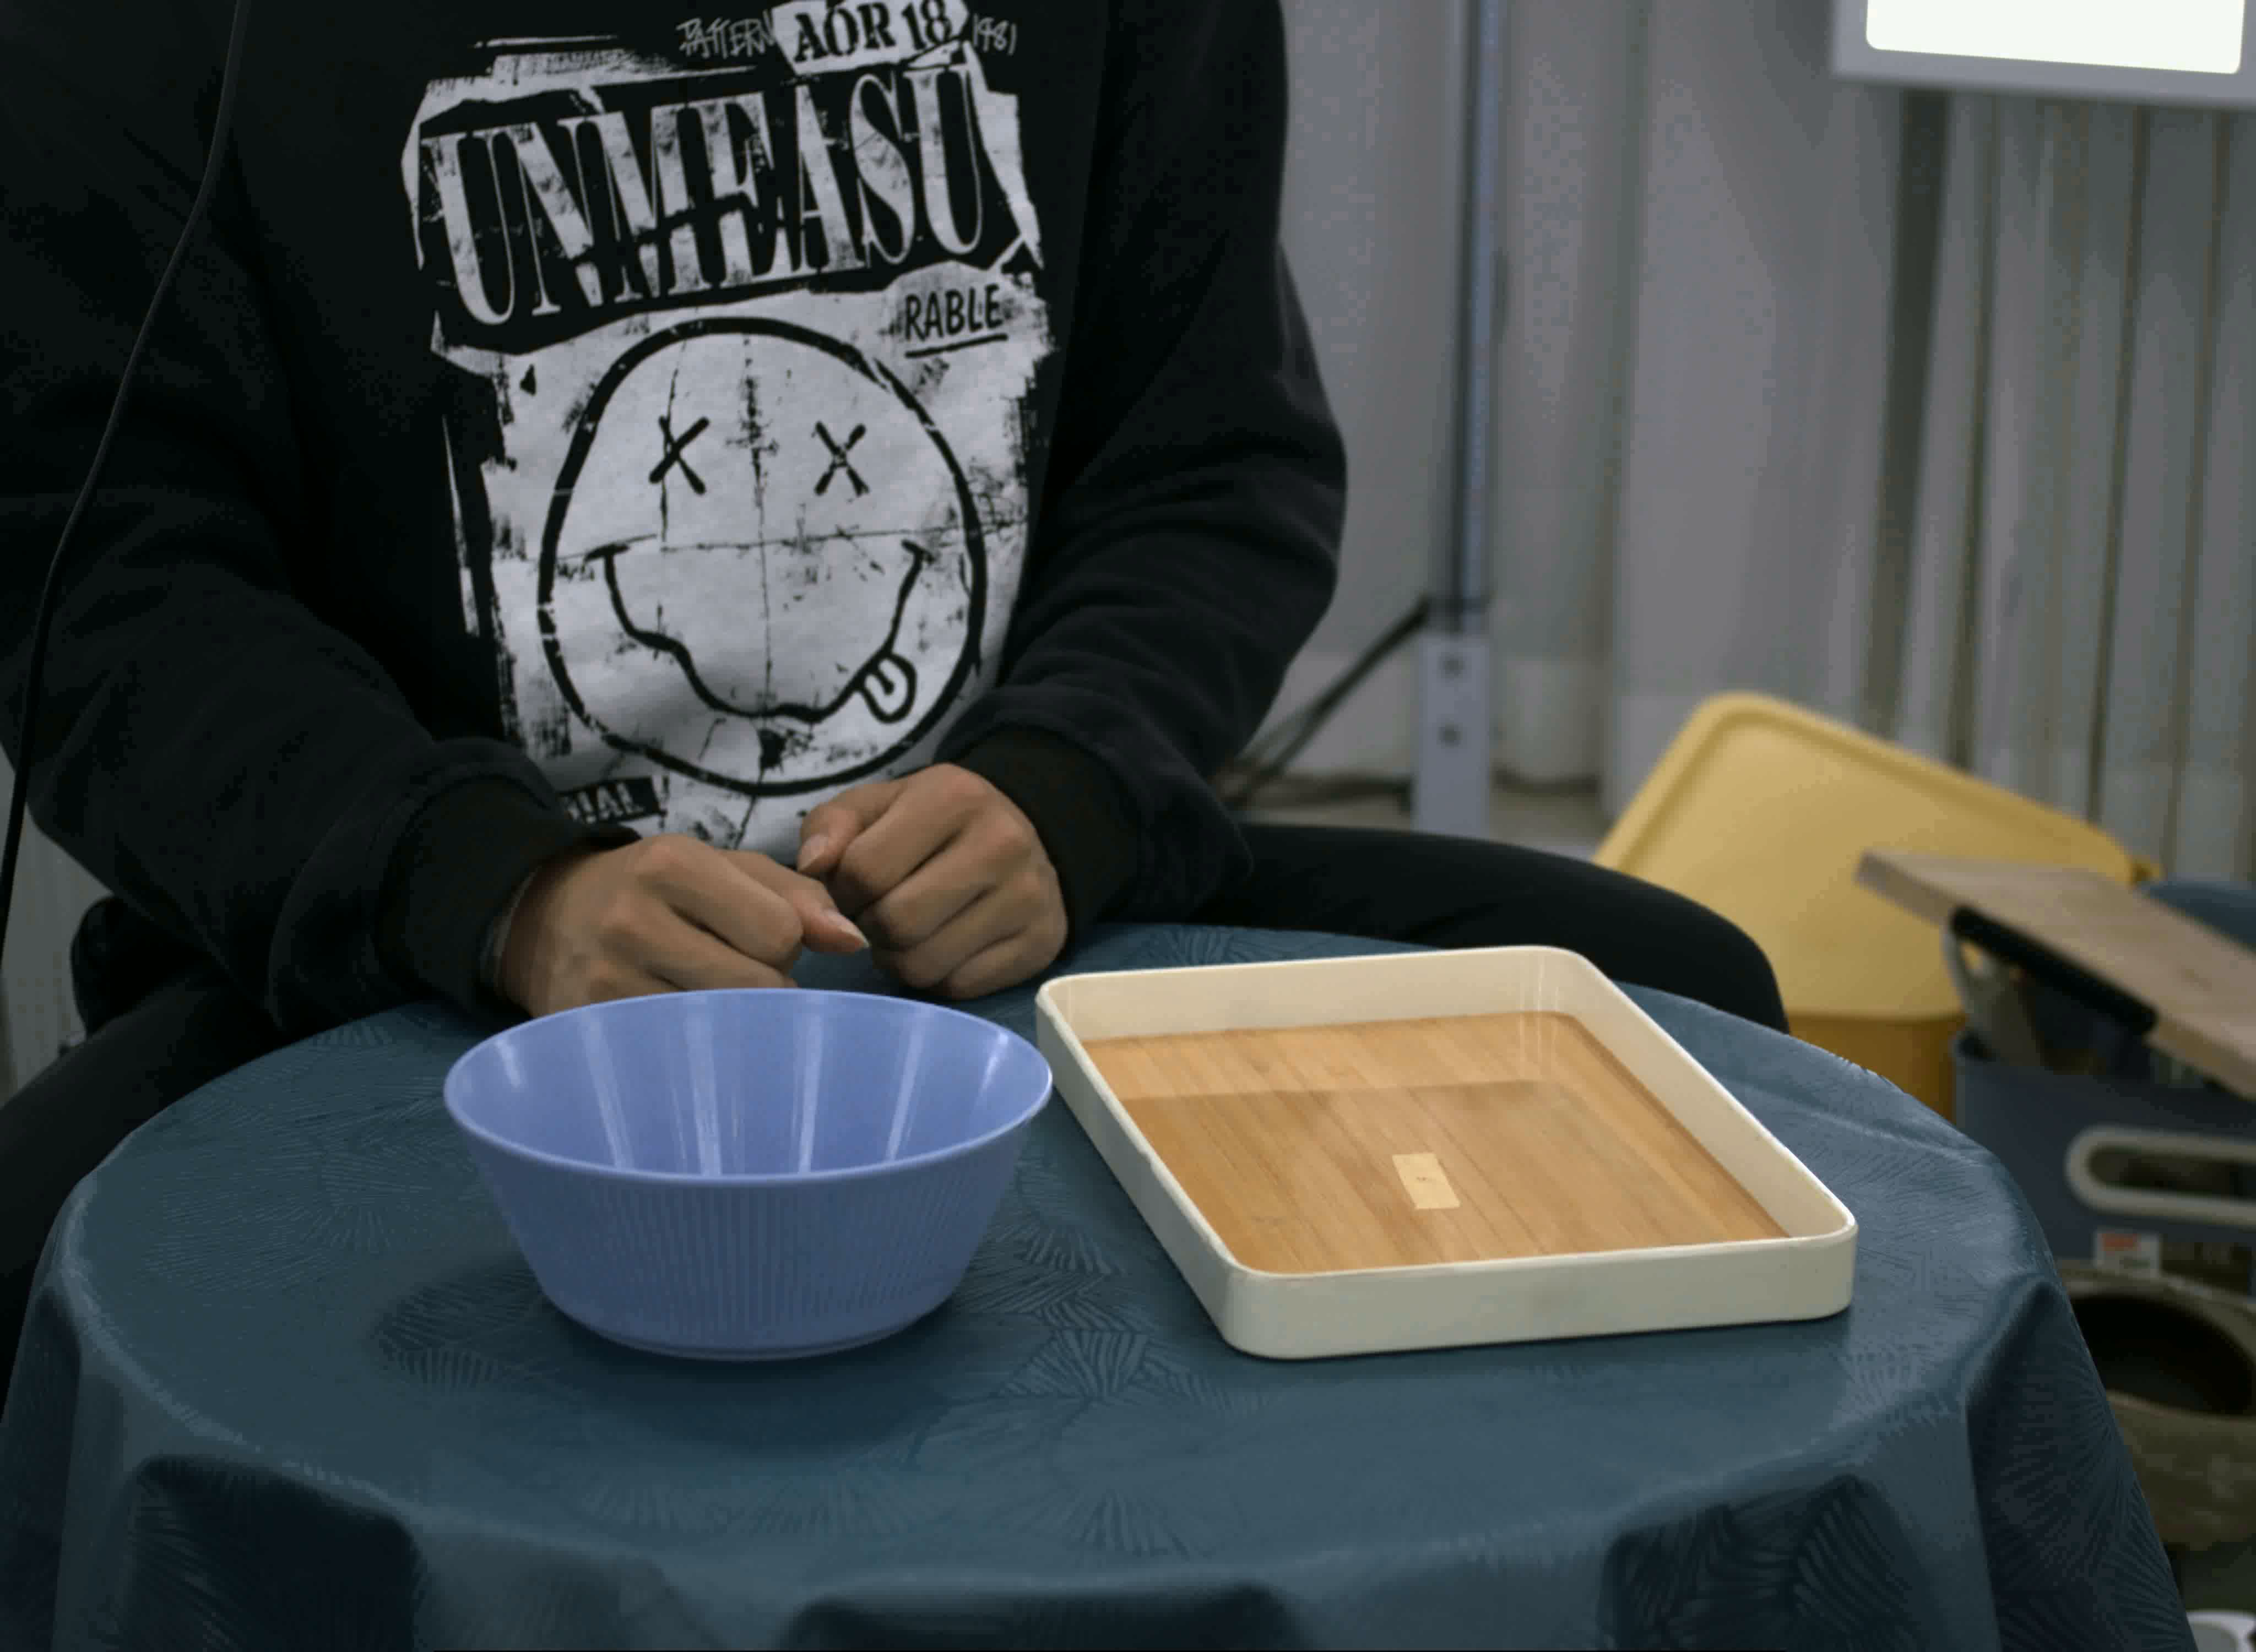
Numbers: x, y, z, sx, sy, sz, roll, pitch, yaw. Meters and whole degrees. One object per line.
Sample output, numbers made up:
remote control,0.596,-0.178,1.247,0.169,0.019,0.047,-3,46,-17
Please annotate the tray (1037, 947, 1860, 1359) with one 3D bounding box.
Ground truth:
tray,0.091,0.097,1.638,0.192,0.027,0.297,-2,16,-13

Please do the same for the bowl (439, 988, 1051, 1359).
bowl,-0.111,0.103,1.524,0.175,0.071,0.175,2,16,0
